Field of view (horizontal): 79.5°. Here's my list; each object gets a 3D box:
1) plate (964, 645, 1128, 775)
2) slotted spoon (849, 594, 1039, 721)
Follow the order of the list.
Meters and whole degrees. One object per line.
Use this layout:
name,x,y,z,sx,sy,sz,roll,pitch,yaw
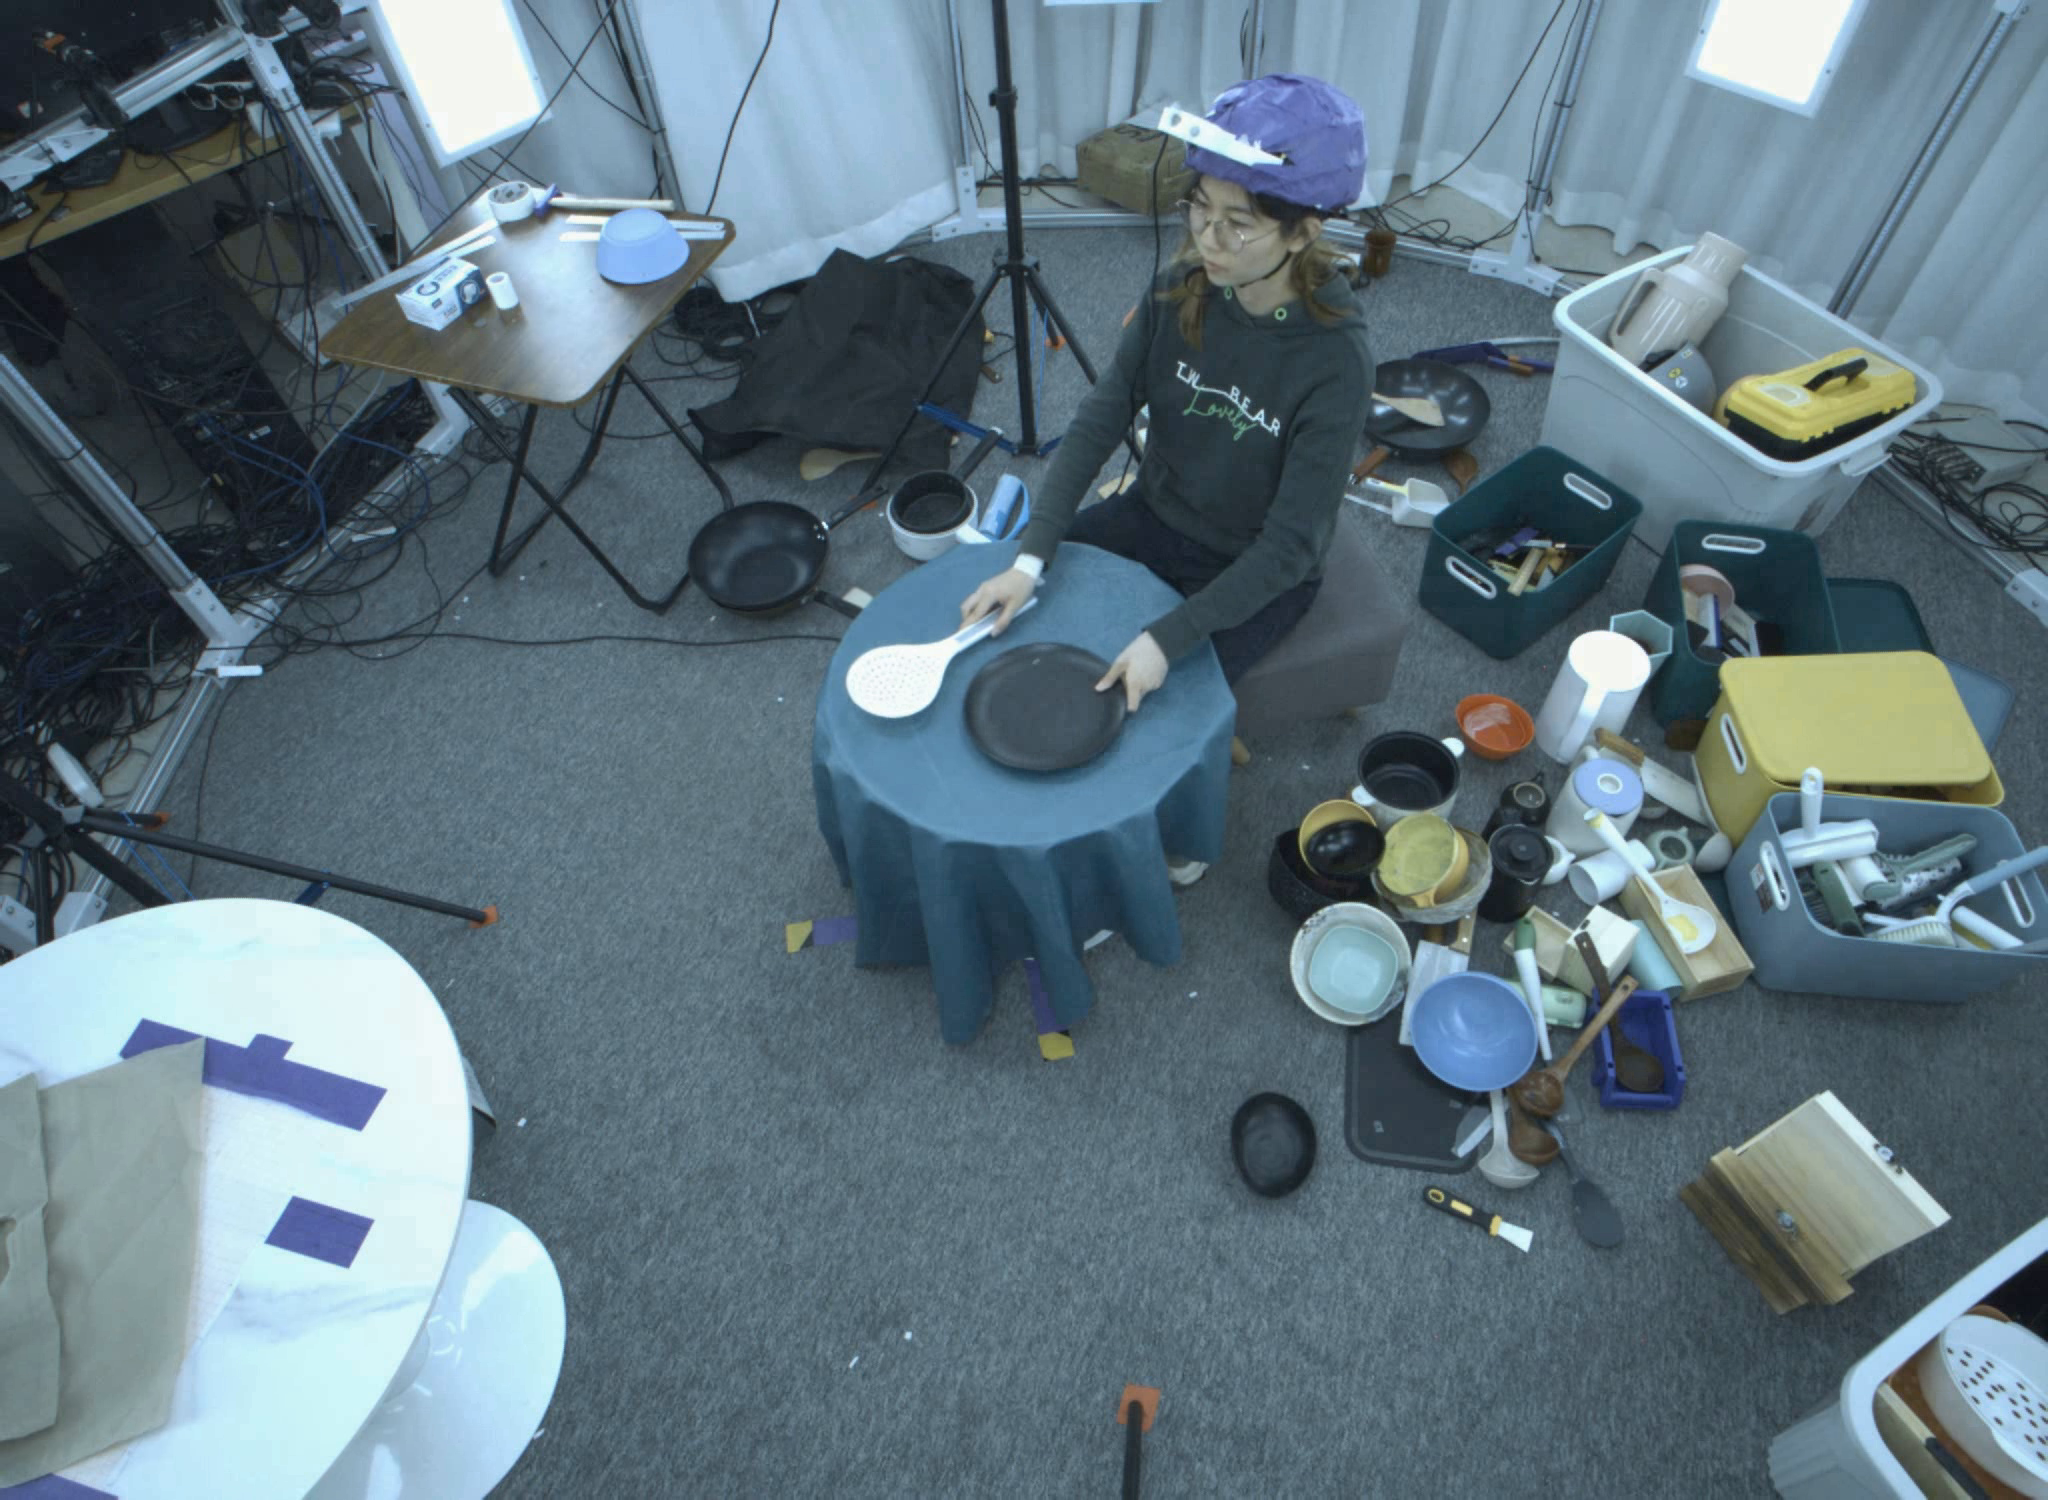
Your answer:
plate,0.032,-0.058,1.822,0.244,0.024,0.242,-1,54,2
slotted spoon,-0.114,-0.151,1.879,0.352,0.046,0.134,-37,69,-23
